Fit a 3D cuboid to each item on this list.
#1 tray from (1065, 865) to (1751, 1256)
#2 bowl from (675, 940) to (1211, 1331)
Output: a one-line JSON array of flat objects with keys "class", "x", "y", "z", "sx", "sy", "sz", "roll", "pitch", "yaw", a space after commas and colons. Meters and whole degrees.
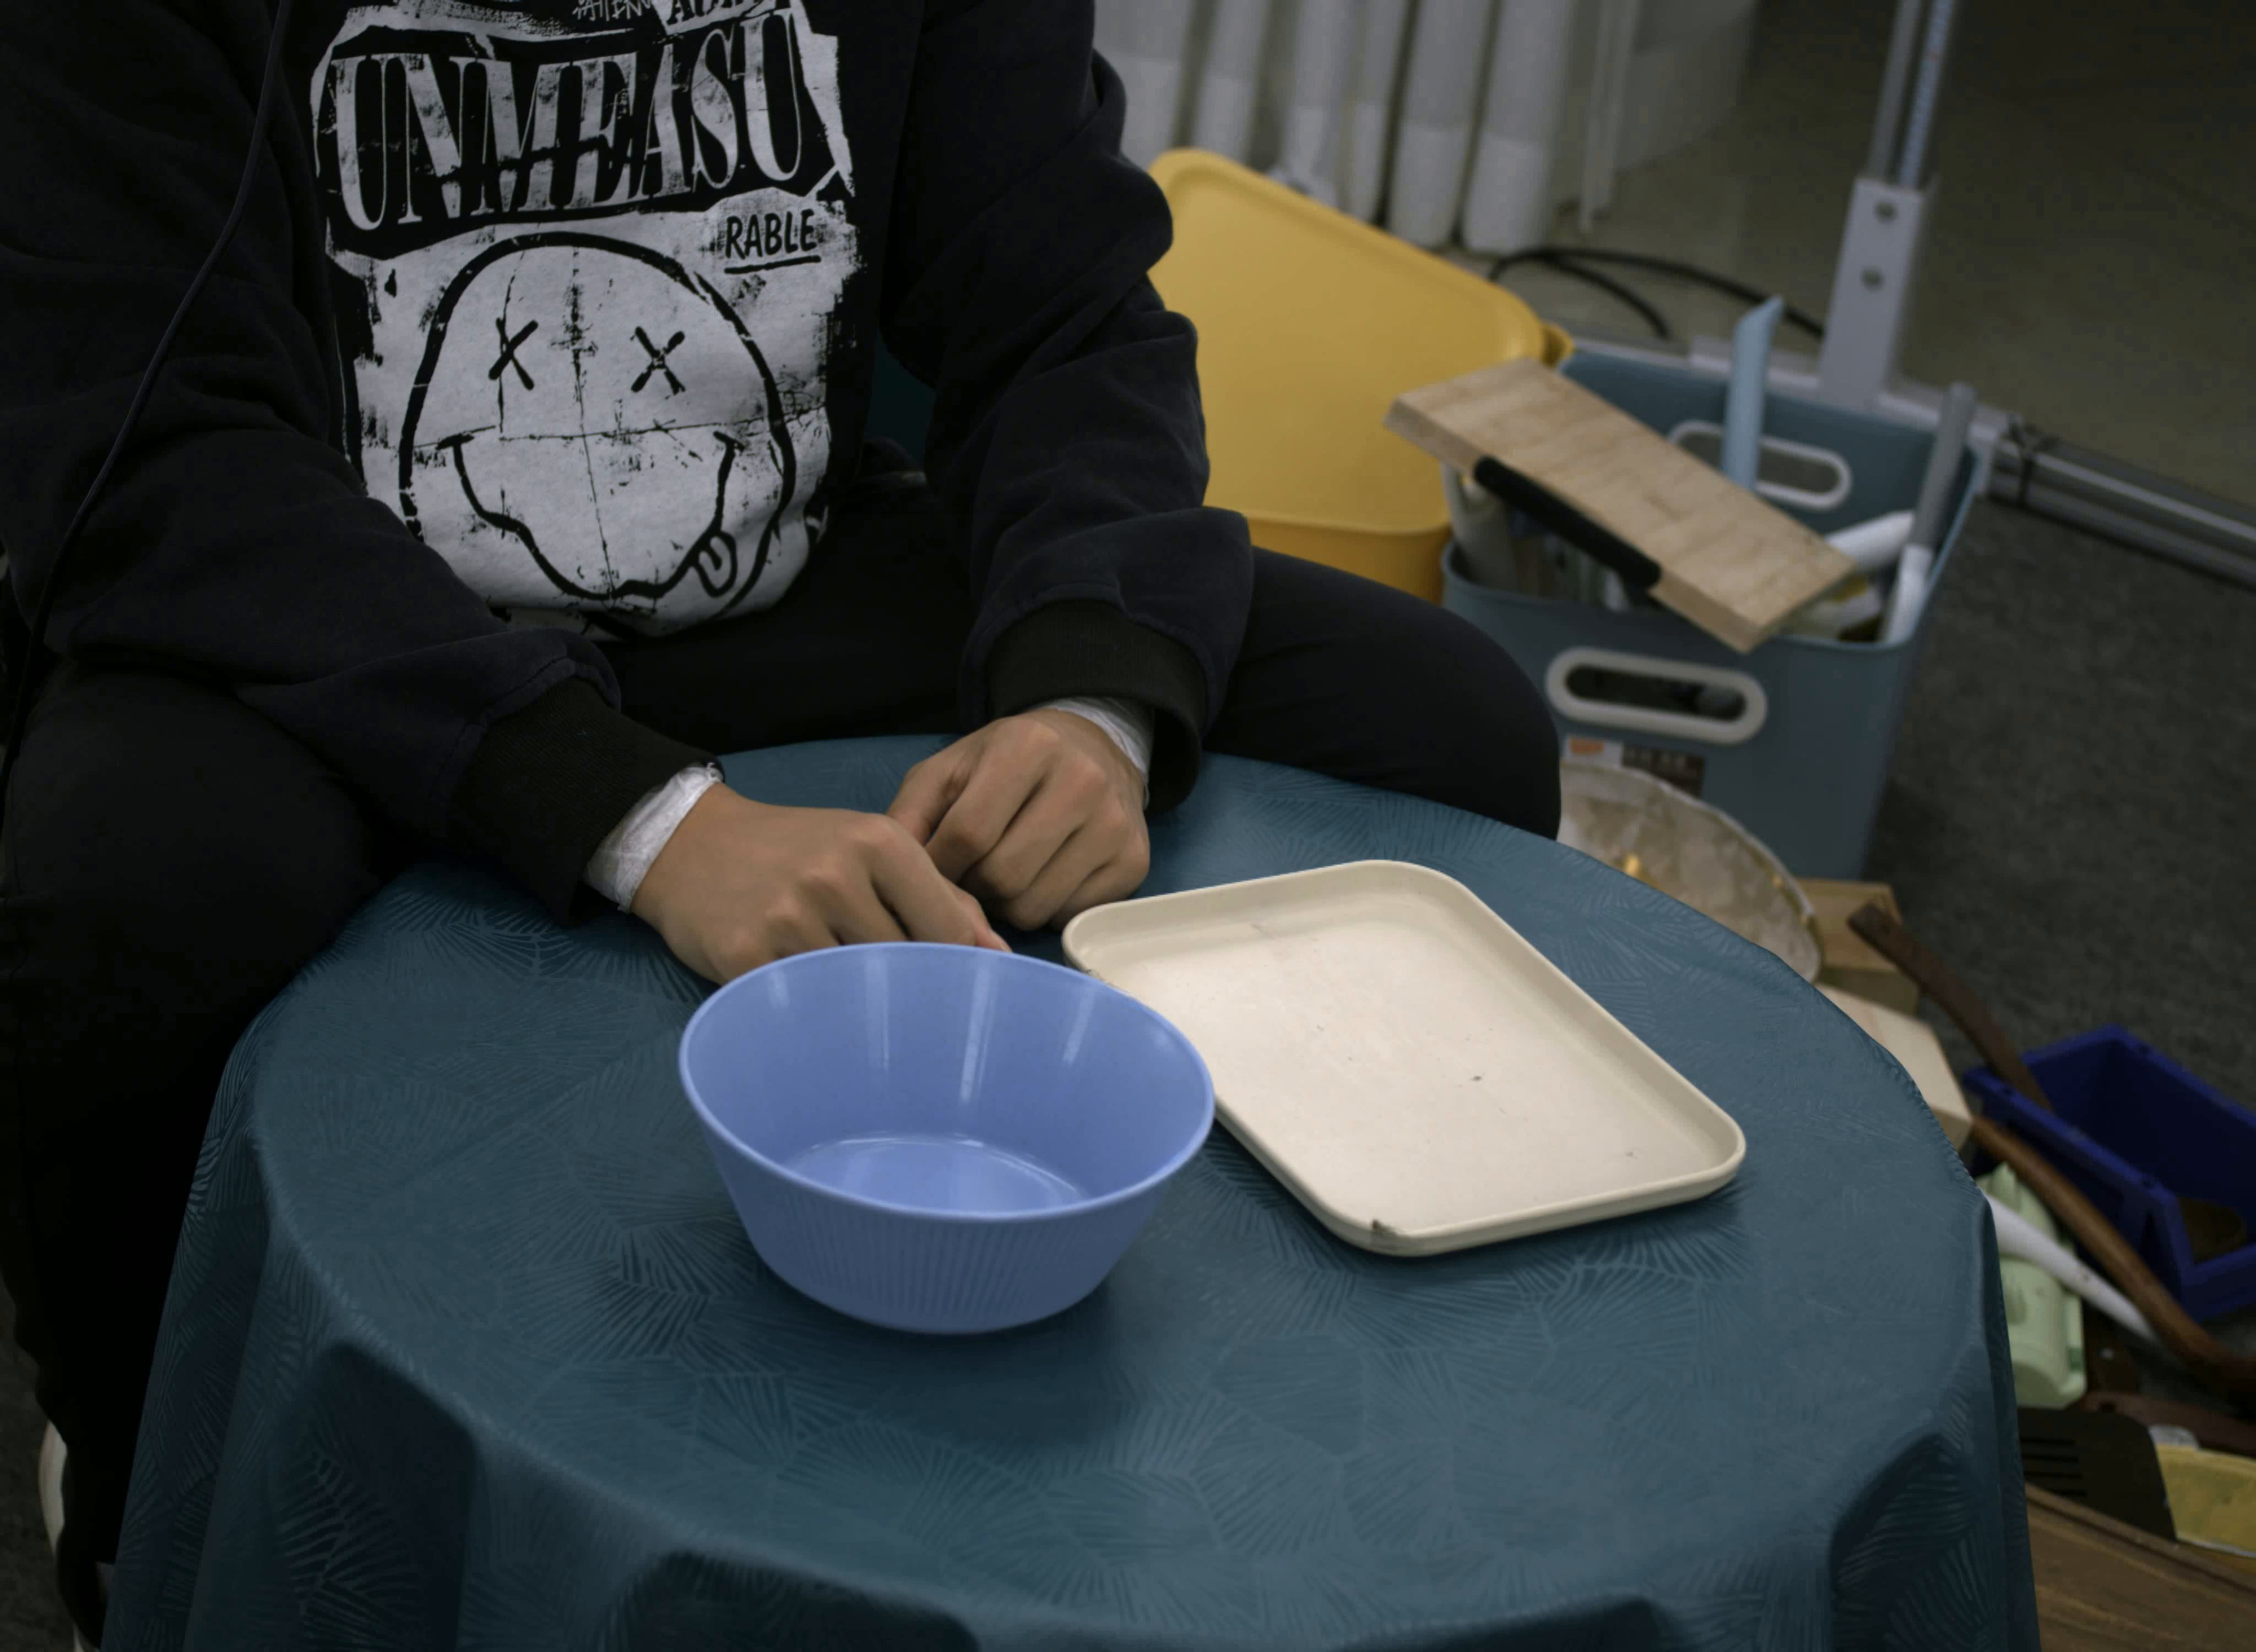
[{"class": "tray", "x": 0.096, "y": 0.082, "z": 1.886, "sx": 0.170, "sy": 0.017, "sz": 0.242, "roll": -8, "pitch": 30, "yaw": -28}, {"class": "bowl", "x": -0.063, "y": 0.107, "z": 1.740, "sx": 0.175, "sy": 0.070, "sz": 0.177, "roll": 6, "pitch": 27, "yaw": -3}]
